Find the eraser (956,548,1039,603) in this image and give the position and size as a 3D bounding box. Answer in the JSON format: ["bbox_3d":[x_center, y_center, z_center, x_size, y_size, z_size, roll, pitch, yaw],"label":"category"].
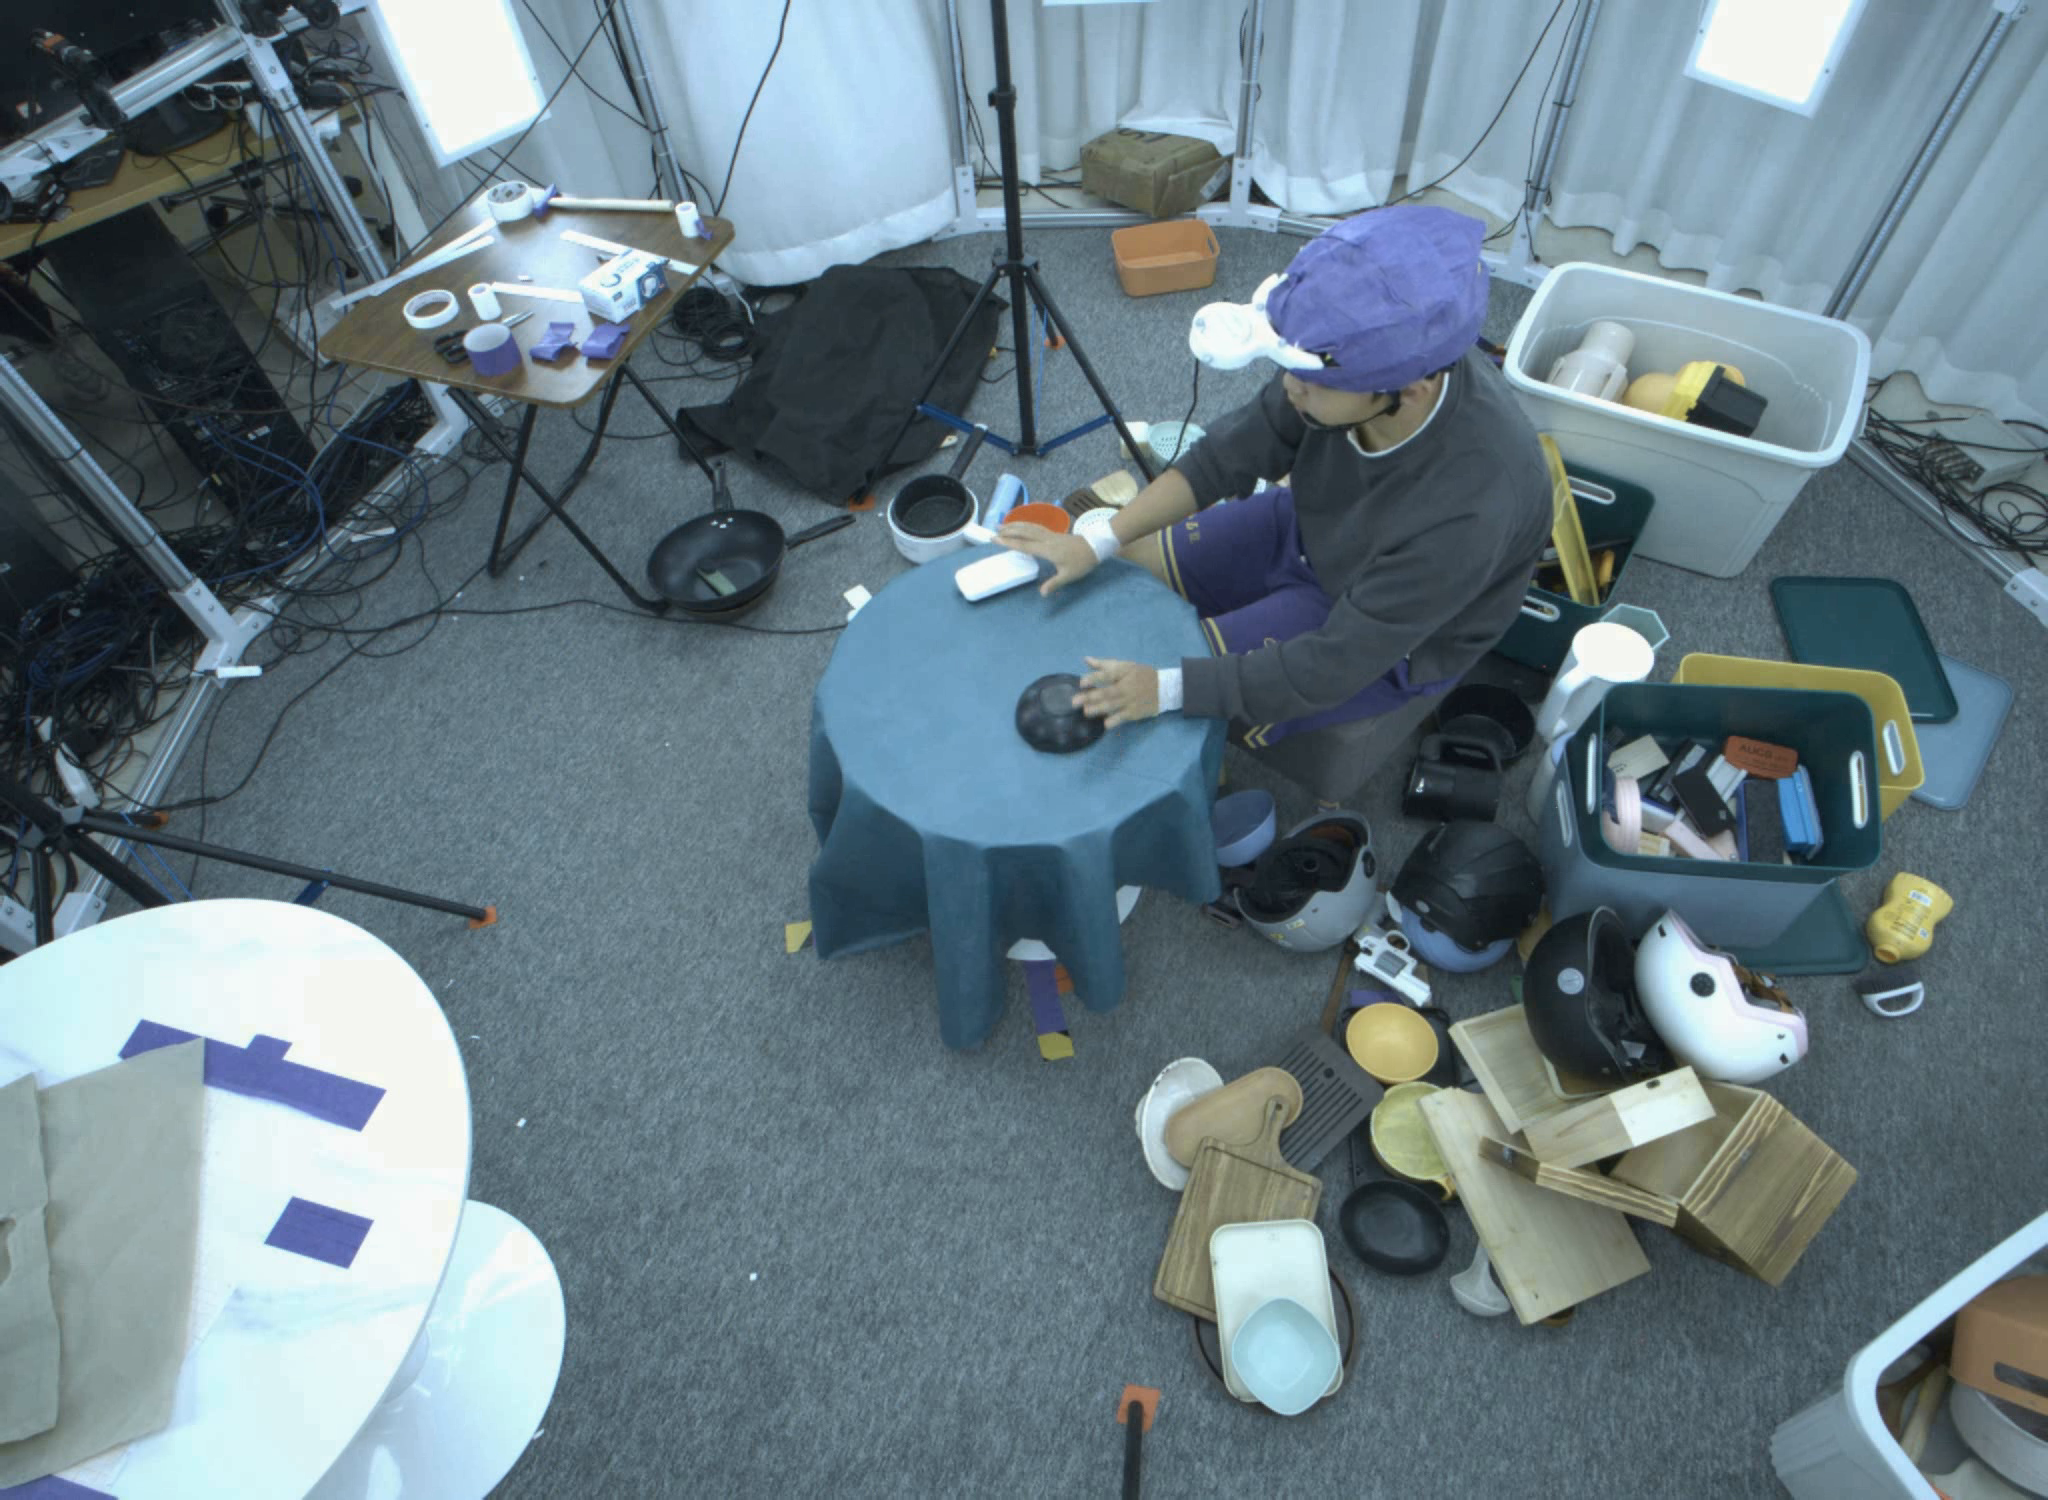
[{"bbox_3d":[-0.042,-0.281,1.971,0.132,0.035,0.062,-21,57,-11],"label":"eraser"}]

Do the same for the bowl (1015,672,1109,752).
[{"bbox_3d":[0.054,-0.066,1.803,0.140,0.050,0.138,-1,54,3],"label":"bowl"}]
